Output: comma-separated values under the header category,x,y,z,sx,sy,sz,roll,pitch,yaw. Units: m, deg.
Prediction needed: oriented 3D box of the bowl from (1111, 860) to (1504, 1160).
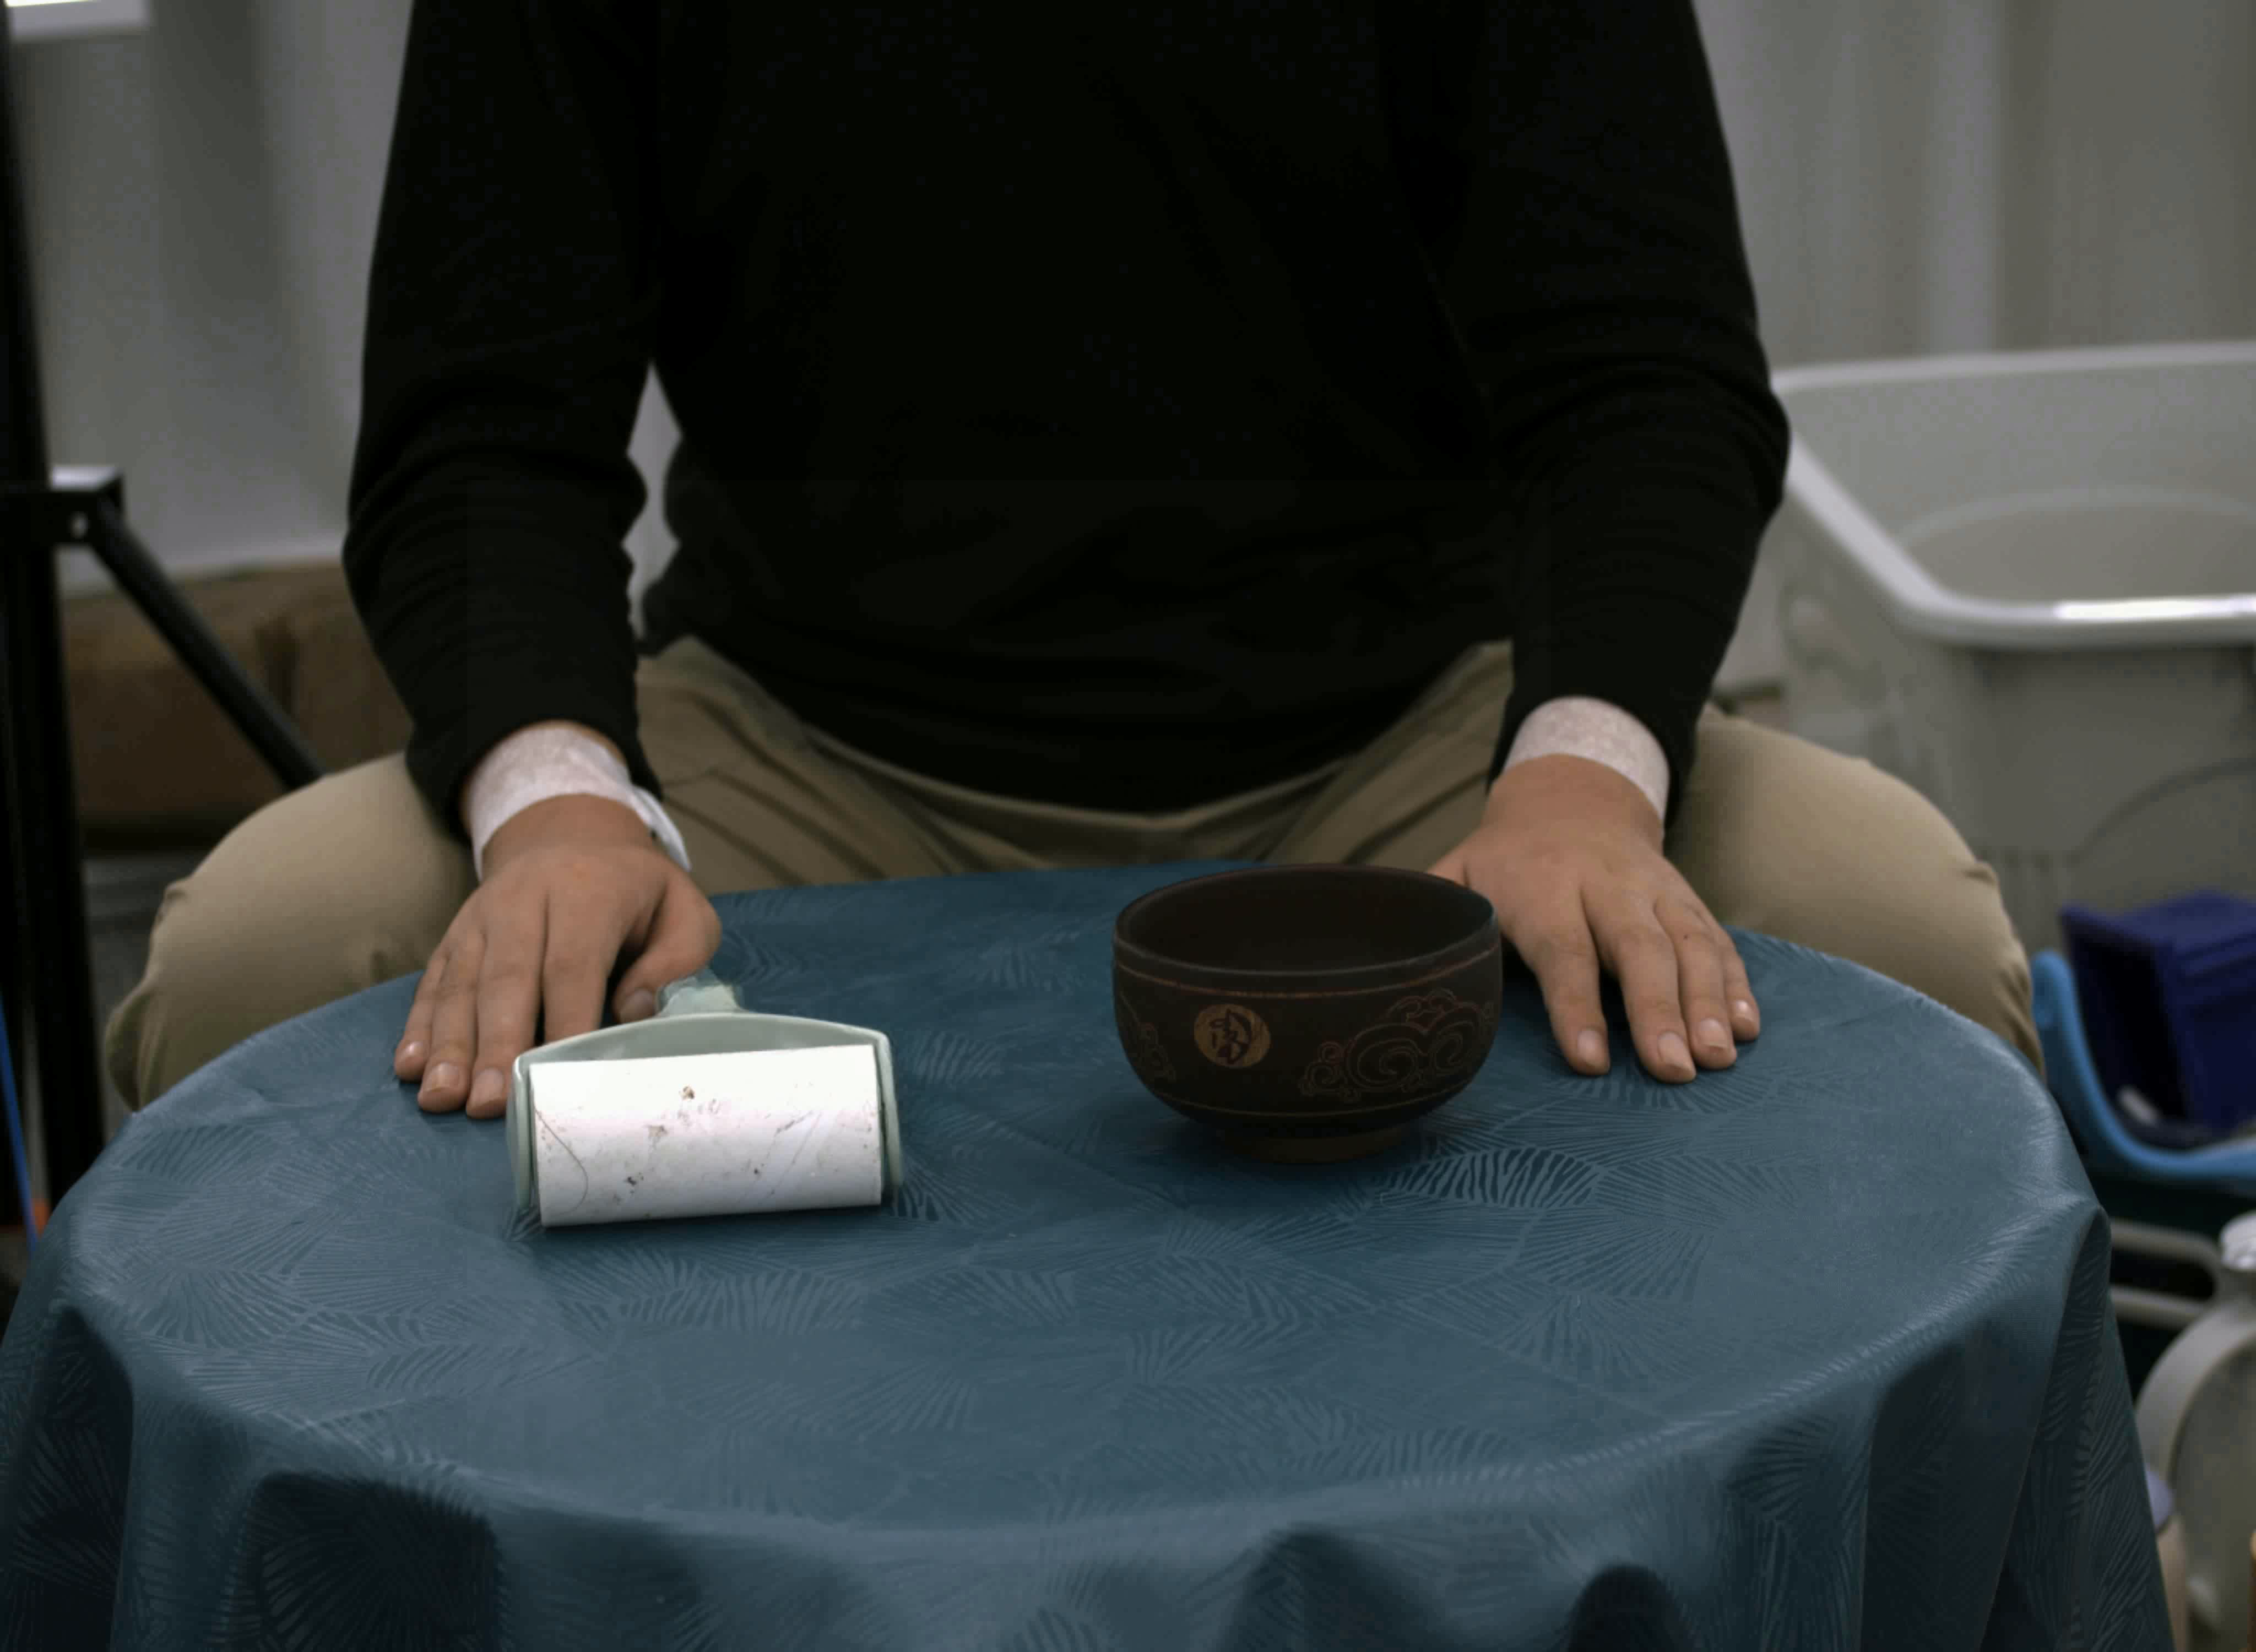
category,x,y,z,sx,sy,sz,roll,pitch,yaw
bowl,0.055,0.059,1.591,0.117,0.070,0.118,-3,15,0

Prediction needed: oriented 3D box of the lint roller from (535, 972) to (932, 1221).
category,x,y,z,sx,sy,sz,roll,pitch,yaw
lint roller,-0.122,0.071,1.625,0.116,0.048,0.199,-5,14,-4
